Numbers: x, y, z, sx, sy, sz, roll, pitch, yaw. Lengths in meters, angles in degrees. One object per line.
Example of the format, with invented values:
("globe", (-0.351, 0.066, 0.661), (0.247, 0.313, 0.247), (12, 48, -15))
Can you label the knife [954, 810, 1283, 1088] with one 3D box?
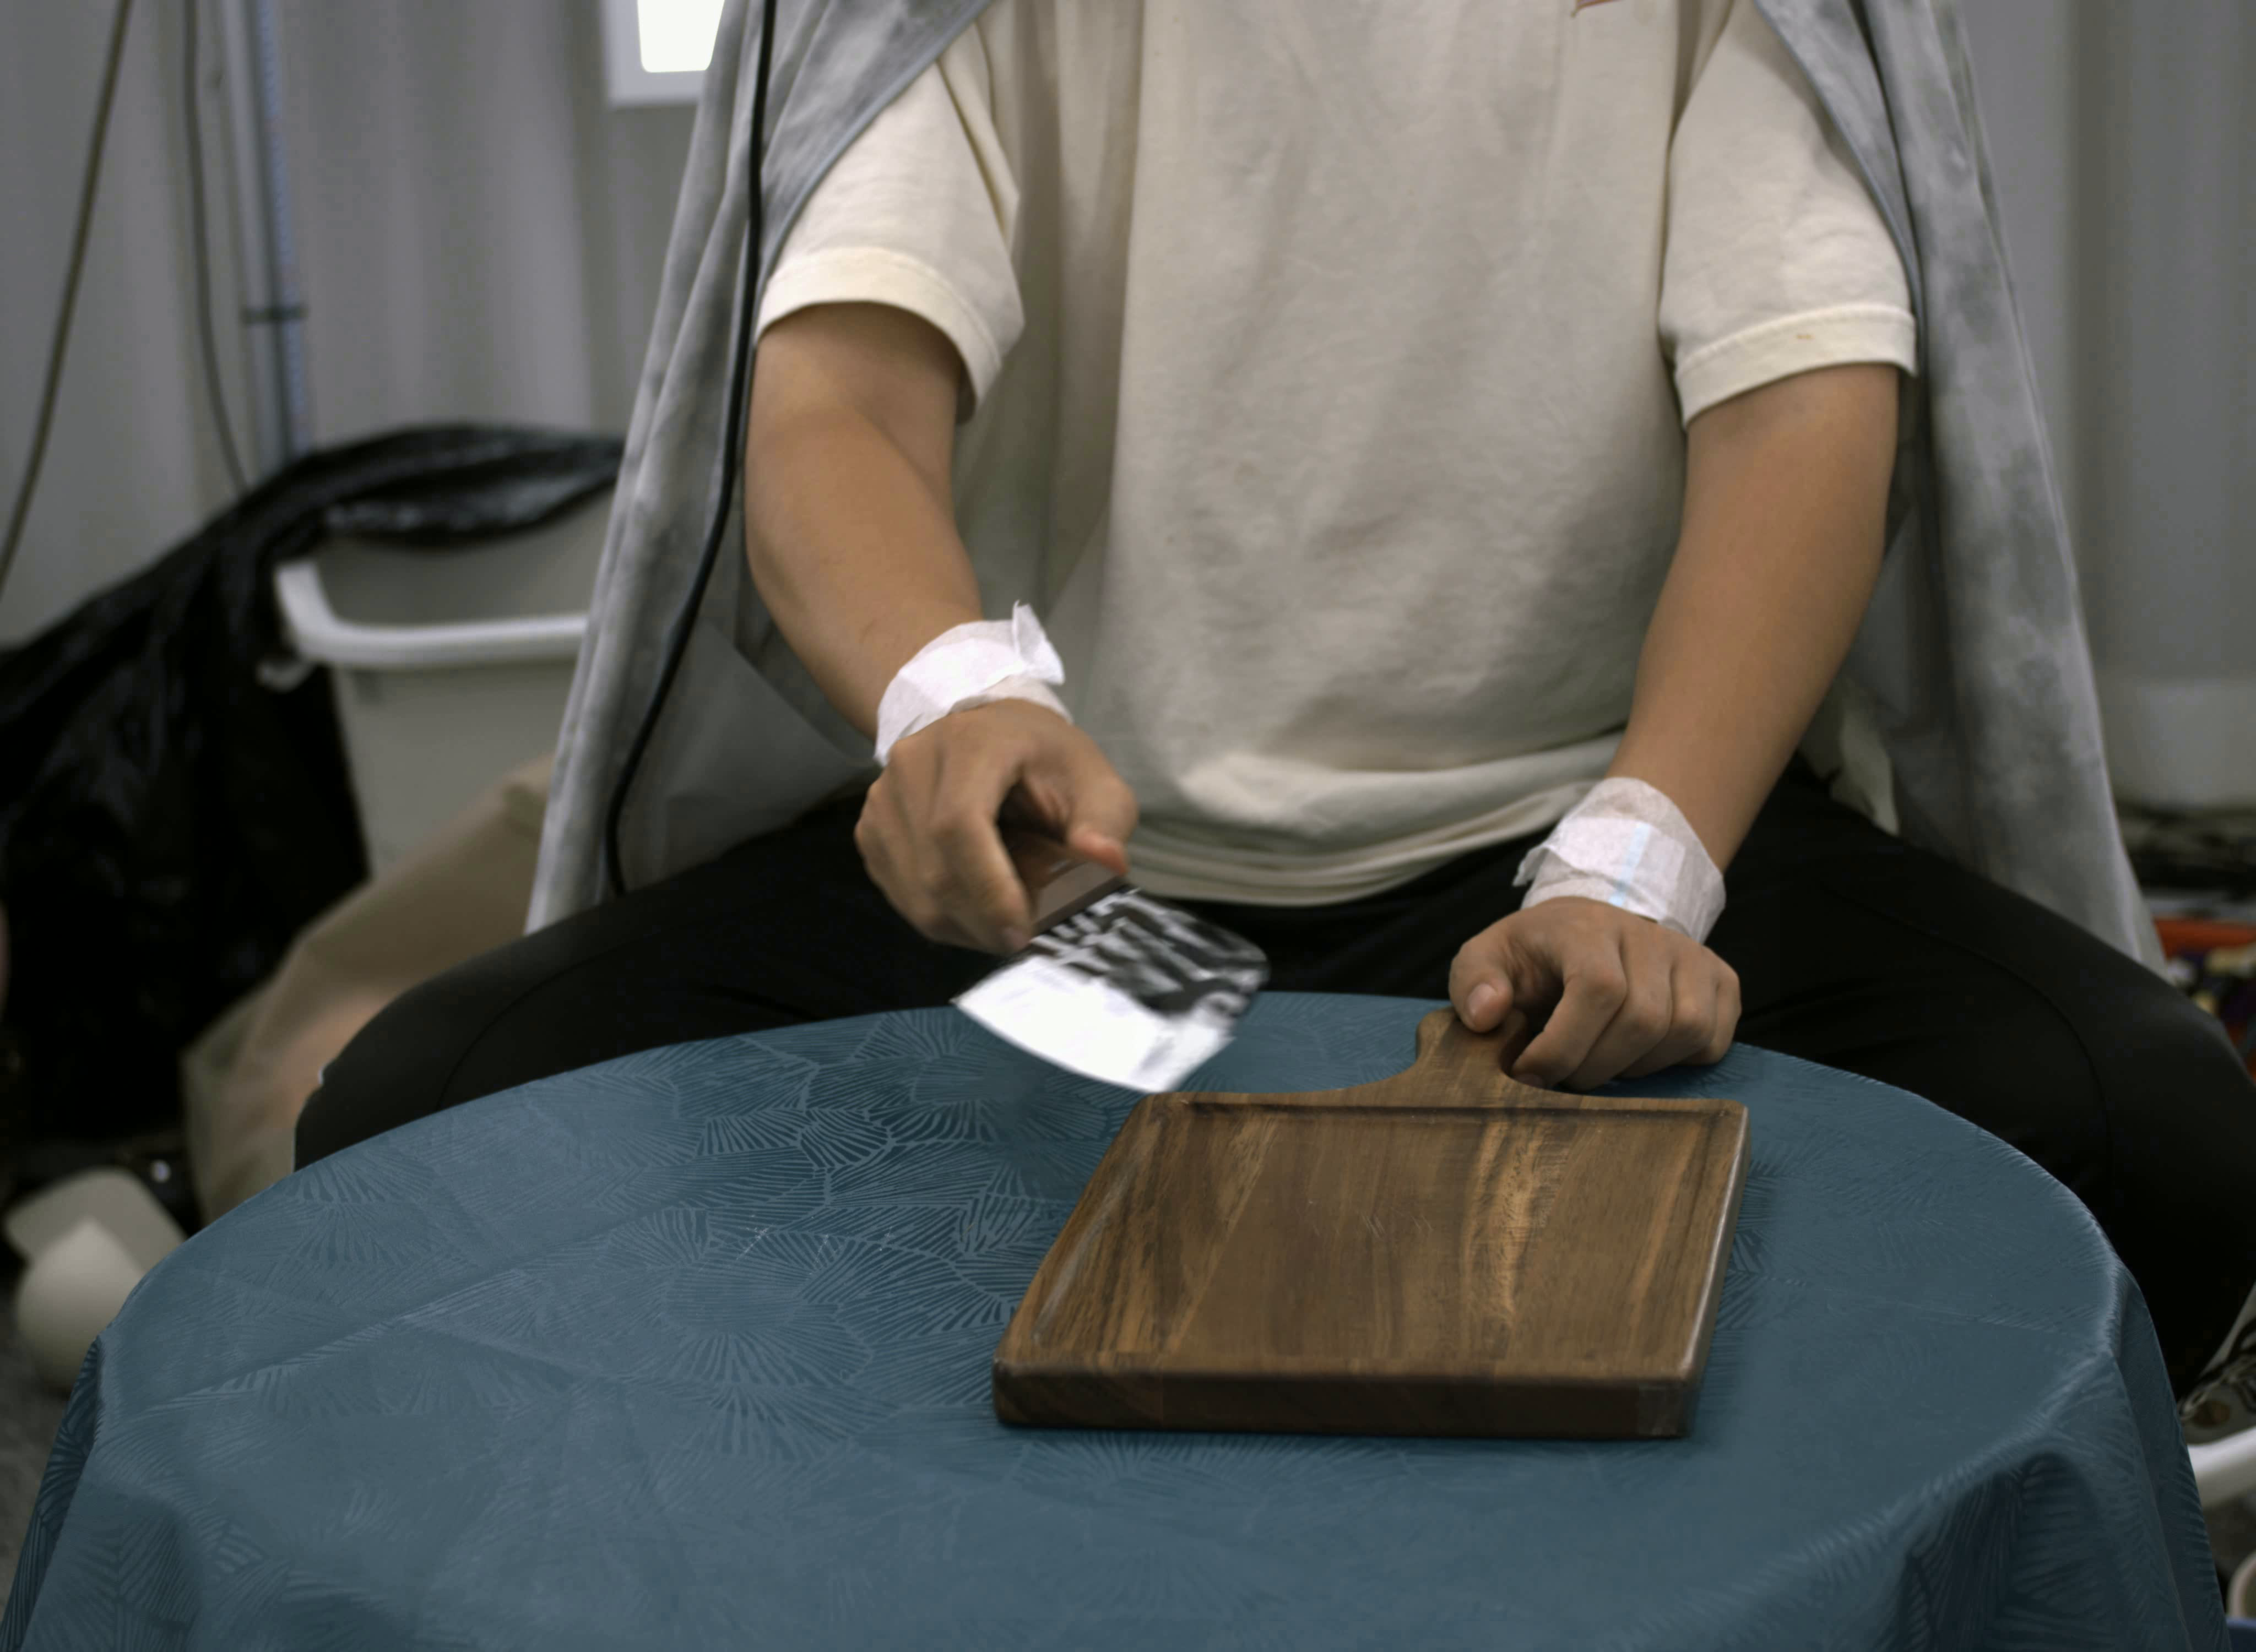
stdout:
("knife", (-0.014, 0.038, 1.681), (0.068, 0.024, 0.301), (-33, 18, -11))

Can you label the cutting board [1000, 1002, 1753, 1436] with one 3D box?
("cutting board", (0.088, 0.113, 1.669), (0.201, 0.023, 0.354), (0, 15, 11))
